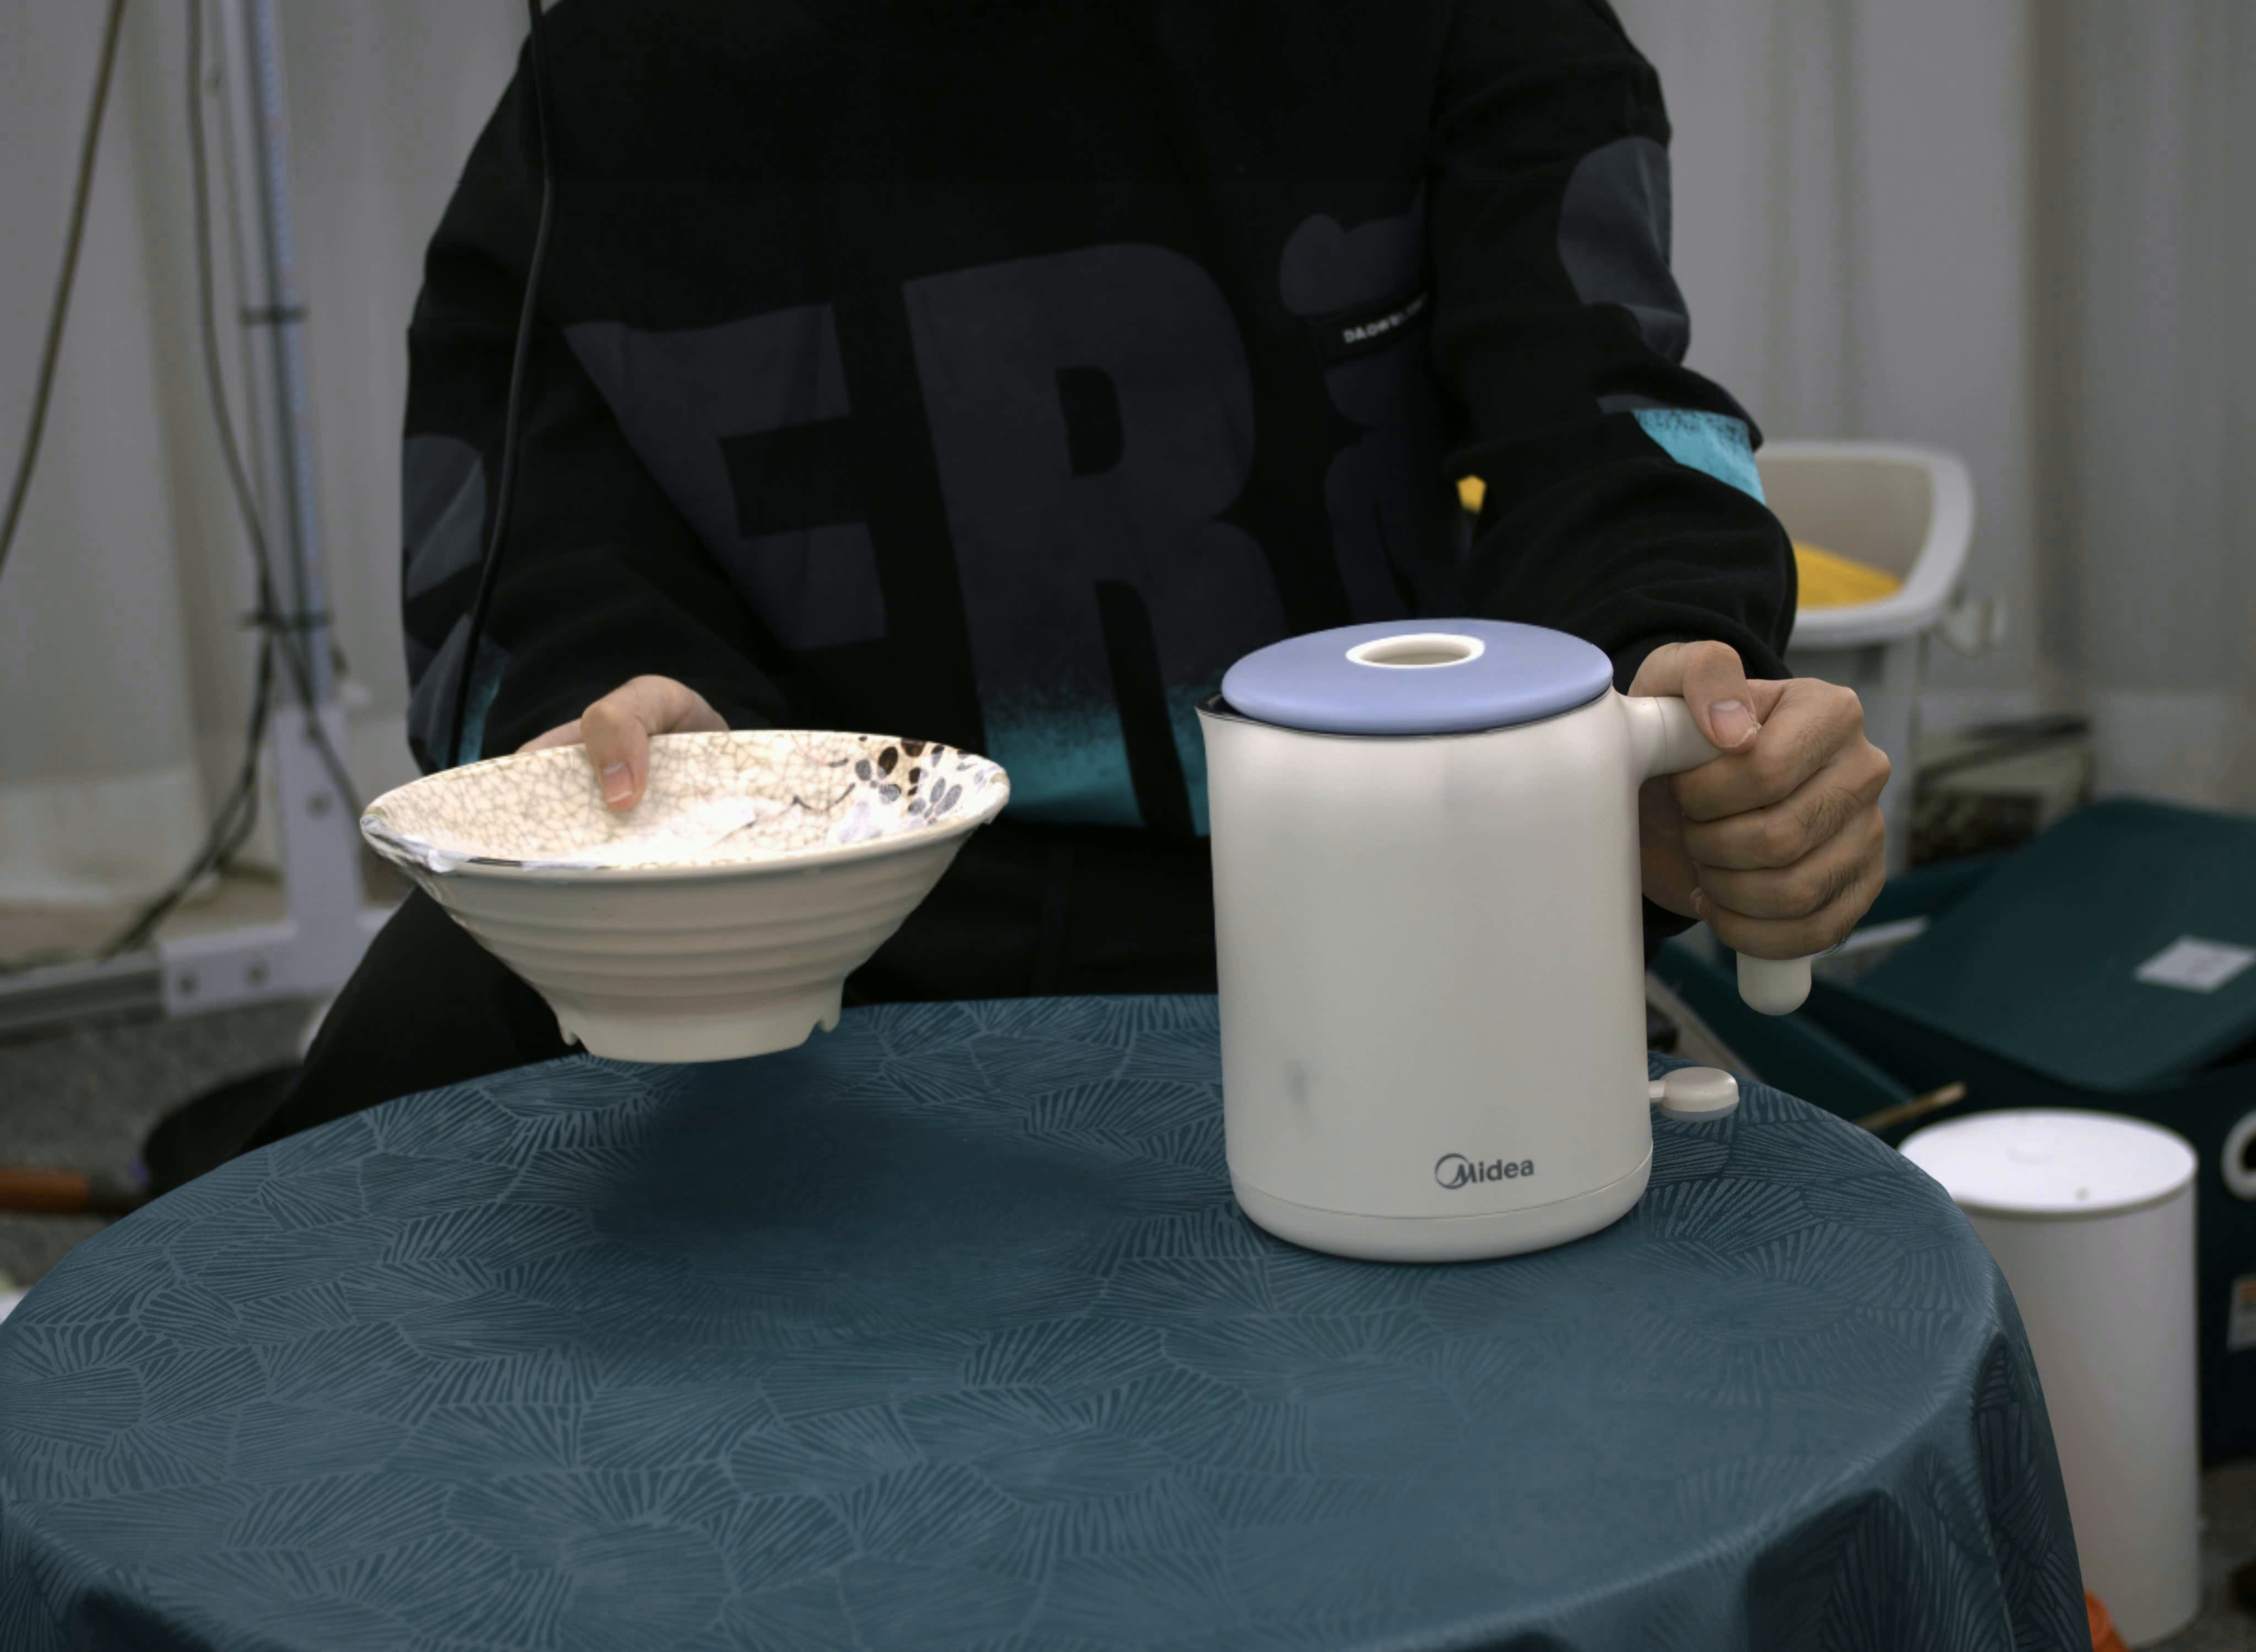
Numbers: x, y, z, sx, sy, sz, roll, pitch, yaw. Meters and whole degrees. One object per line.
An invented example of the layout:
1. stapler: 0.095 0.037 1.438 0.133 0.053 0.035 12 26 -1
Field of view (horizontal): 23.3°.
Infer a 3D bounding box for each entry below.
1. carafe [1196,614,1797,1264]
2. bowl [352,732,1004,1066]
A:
1. carafe: 0.114 0.032 1.674 0.190 0.182 0.133 -3 15 -11
2. bowl: -0.139 0.027 1.715 0.203 0.078 0.205 -1 12 0
